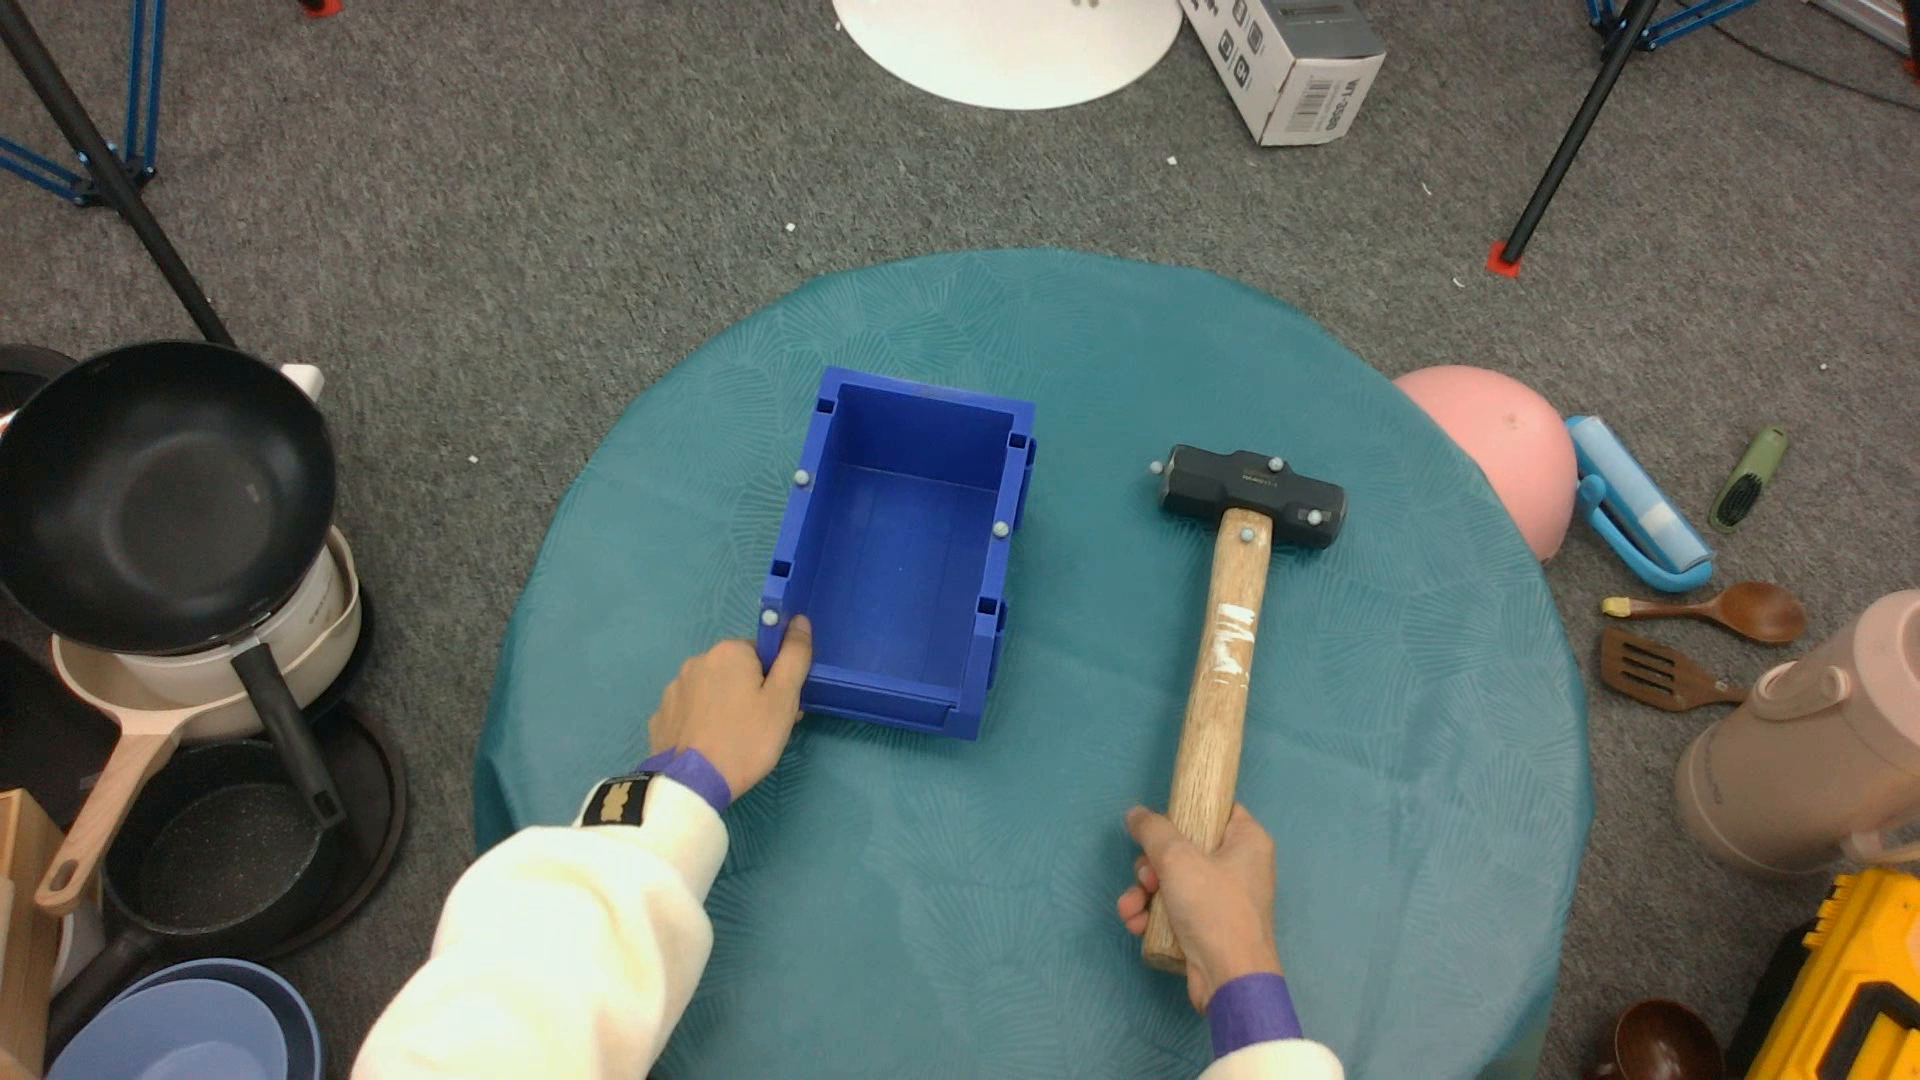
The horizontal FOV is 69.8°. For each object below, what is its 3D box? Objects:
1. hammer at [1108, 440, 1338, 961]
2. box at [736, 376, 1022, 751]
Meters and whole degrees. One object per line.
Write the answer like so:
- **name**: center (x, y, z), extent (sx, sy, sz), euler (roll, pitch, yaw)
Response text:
- **hammer**: center (0.129, 0.076, 0.737), extent (0.107, 0.038, 0.307), euler (17, 55, 5)
- **box**: center (-0.040, 0.014, 0.744), extent (0.124, 0.081, 0.180), euler (10, 57, 1)
